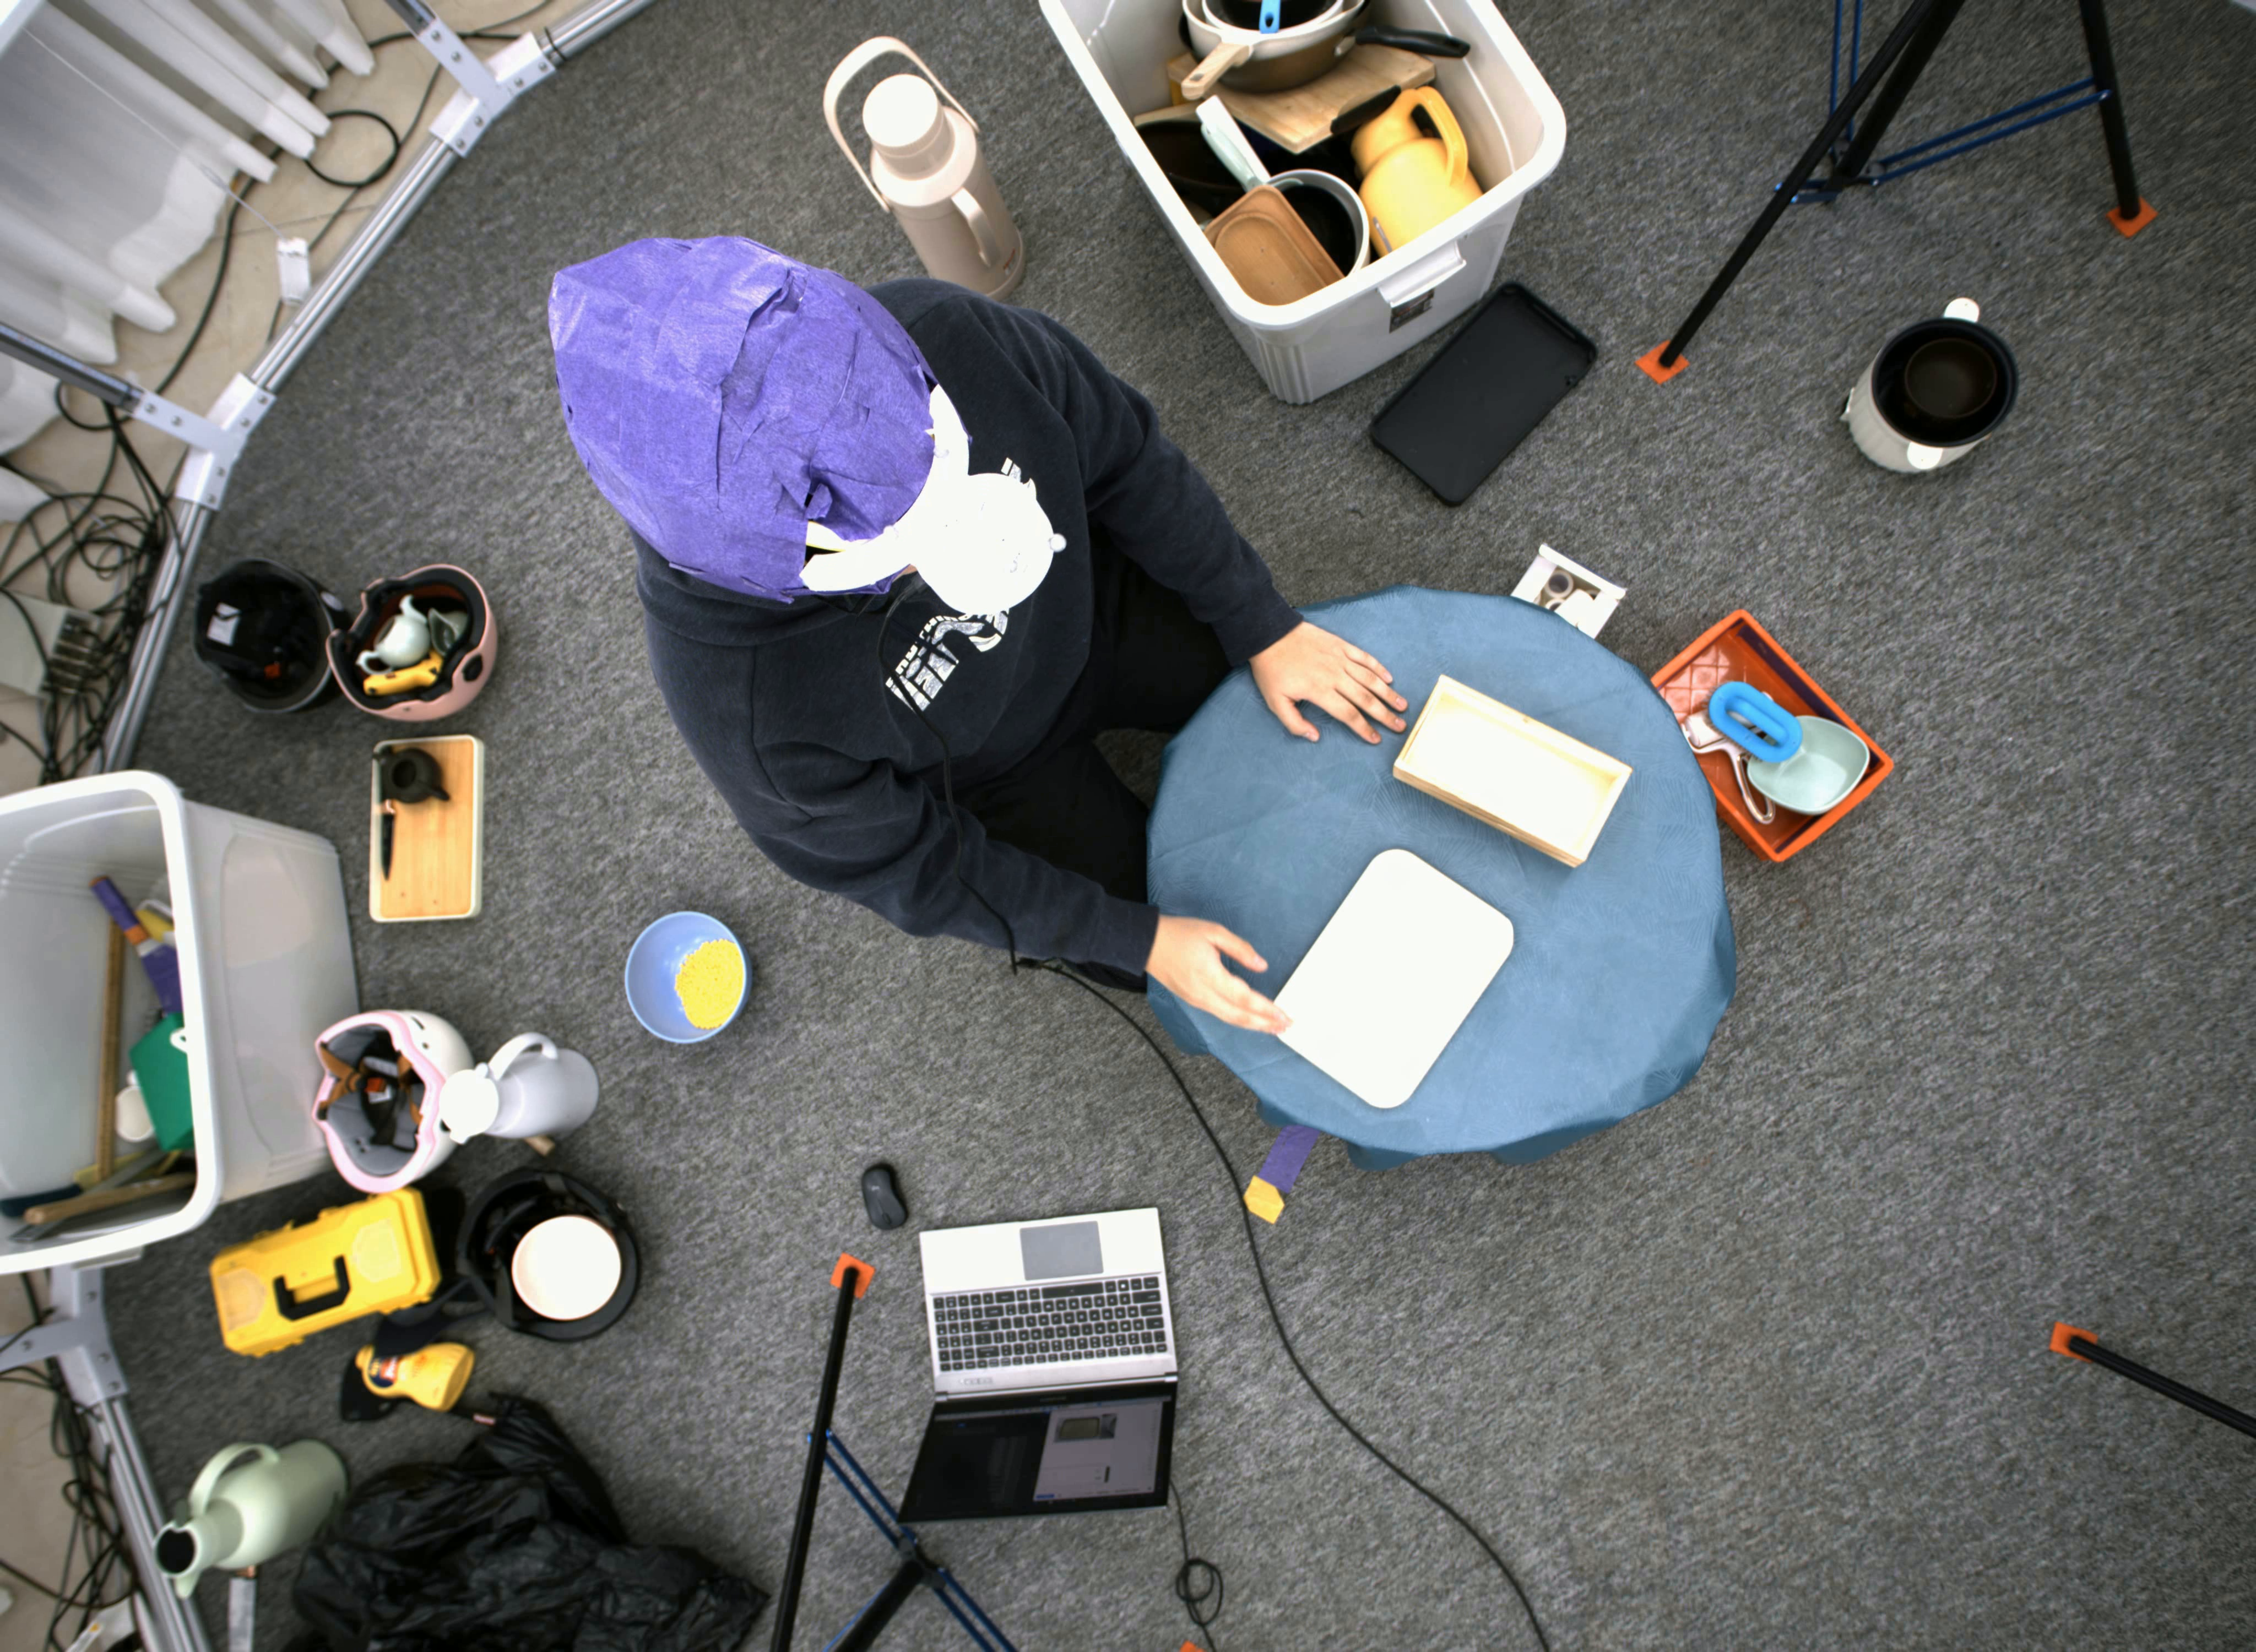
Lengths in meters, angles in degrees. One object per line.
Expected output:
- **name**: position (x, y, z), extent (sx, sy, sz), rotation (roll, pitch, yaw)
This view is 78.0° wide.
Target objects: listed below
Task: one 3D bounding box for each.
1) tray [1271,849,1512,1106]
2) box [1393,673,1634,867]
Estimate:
- **tray**: position (0.275, 0.156, 1.446), extent (0.171, 0.017, 0.240), rotation (35, 94, 12)
- **box**: position (0.390, -0.059, 1.405), extent (0.211, 0.080, 0.107), rotation (28, 90, 11)
